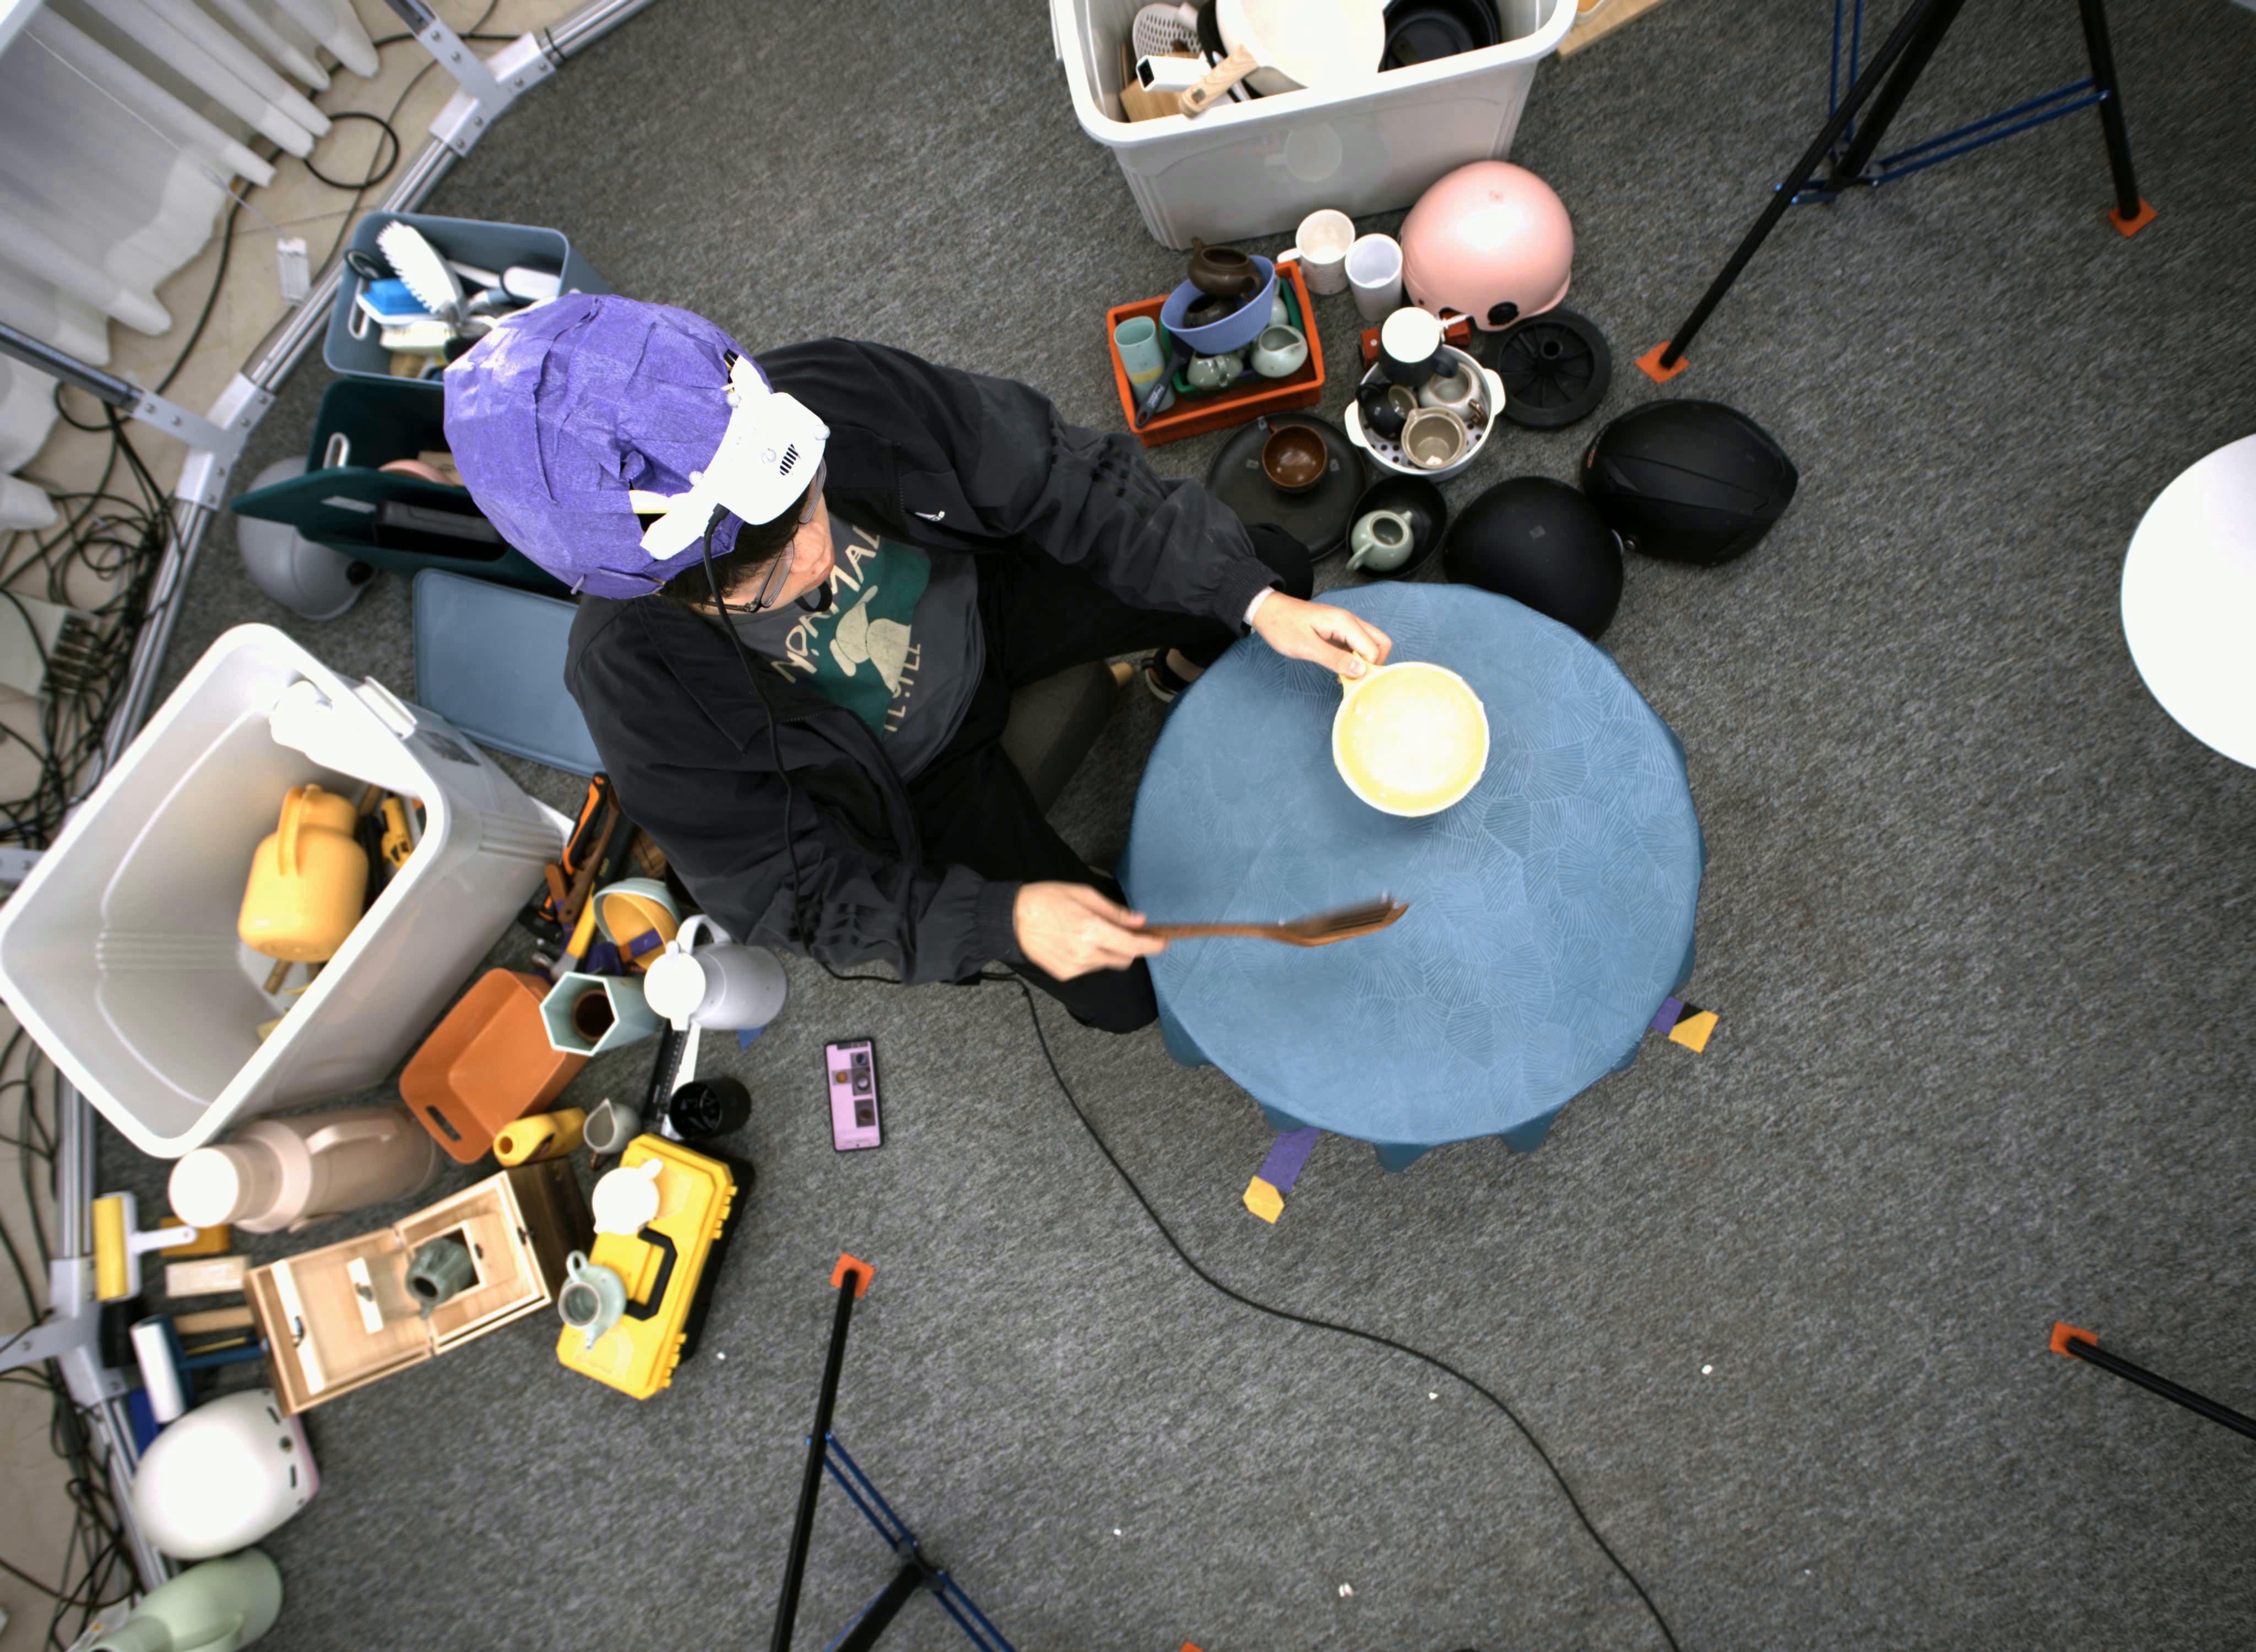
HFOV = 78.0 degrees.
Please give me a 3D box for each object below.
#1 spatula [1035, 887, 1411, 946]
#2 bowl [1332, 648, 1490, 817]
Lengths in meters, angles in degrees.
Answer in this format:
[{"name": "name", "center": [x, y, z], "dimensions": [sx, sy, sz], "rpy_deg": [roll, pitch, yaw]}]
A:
[{"name": "spatula", "center": [0.082, 0.094, 1.343], "dimensions": [0.390, 0.083, 0.024], "rpy_deg": [-4, 116, 25]}, {"name": "bowl", "center": [0.276, -0.102, 1.370], "dimensions": [0.179, 0.073, 0.155], "rpy_deg": [46, 114, 1]}]
